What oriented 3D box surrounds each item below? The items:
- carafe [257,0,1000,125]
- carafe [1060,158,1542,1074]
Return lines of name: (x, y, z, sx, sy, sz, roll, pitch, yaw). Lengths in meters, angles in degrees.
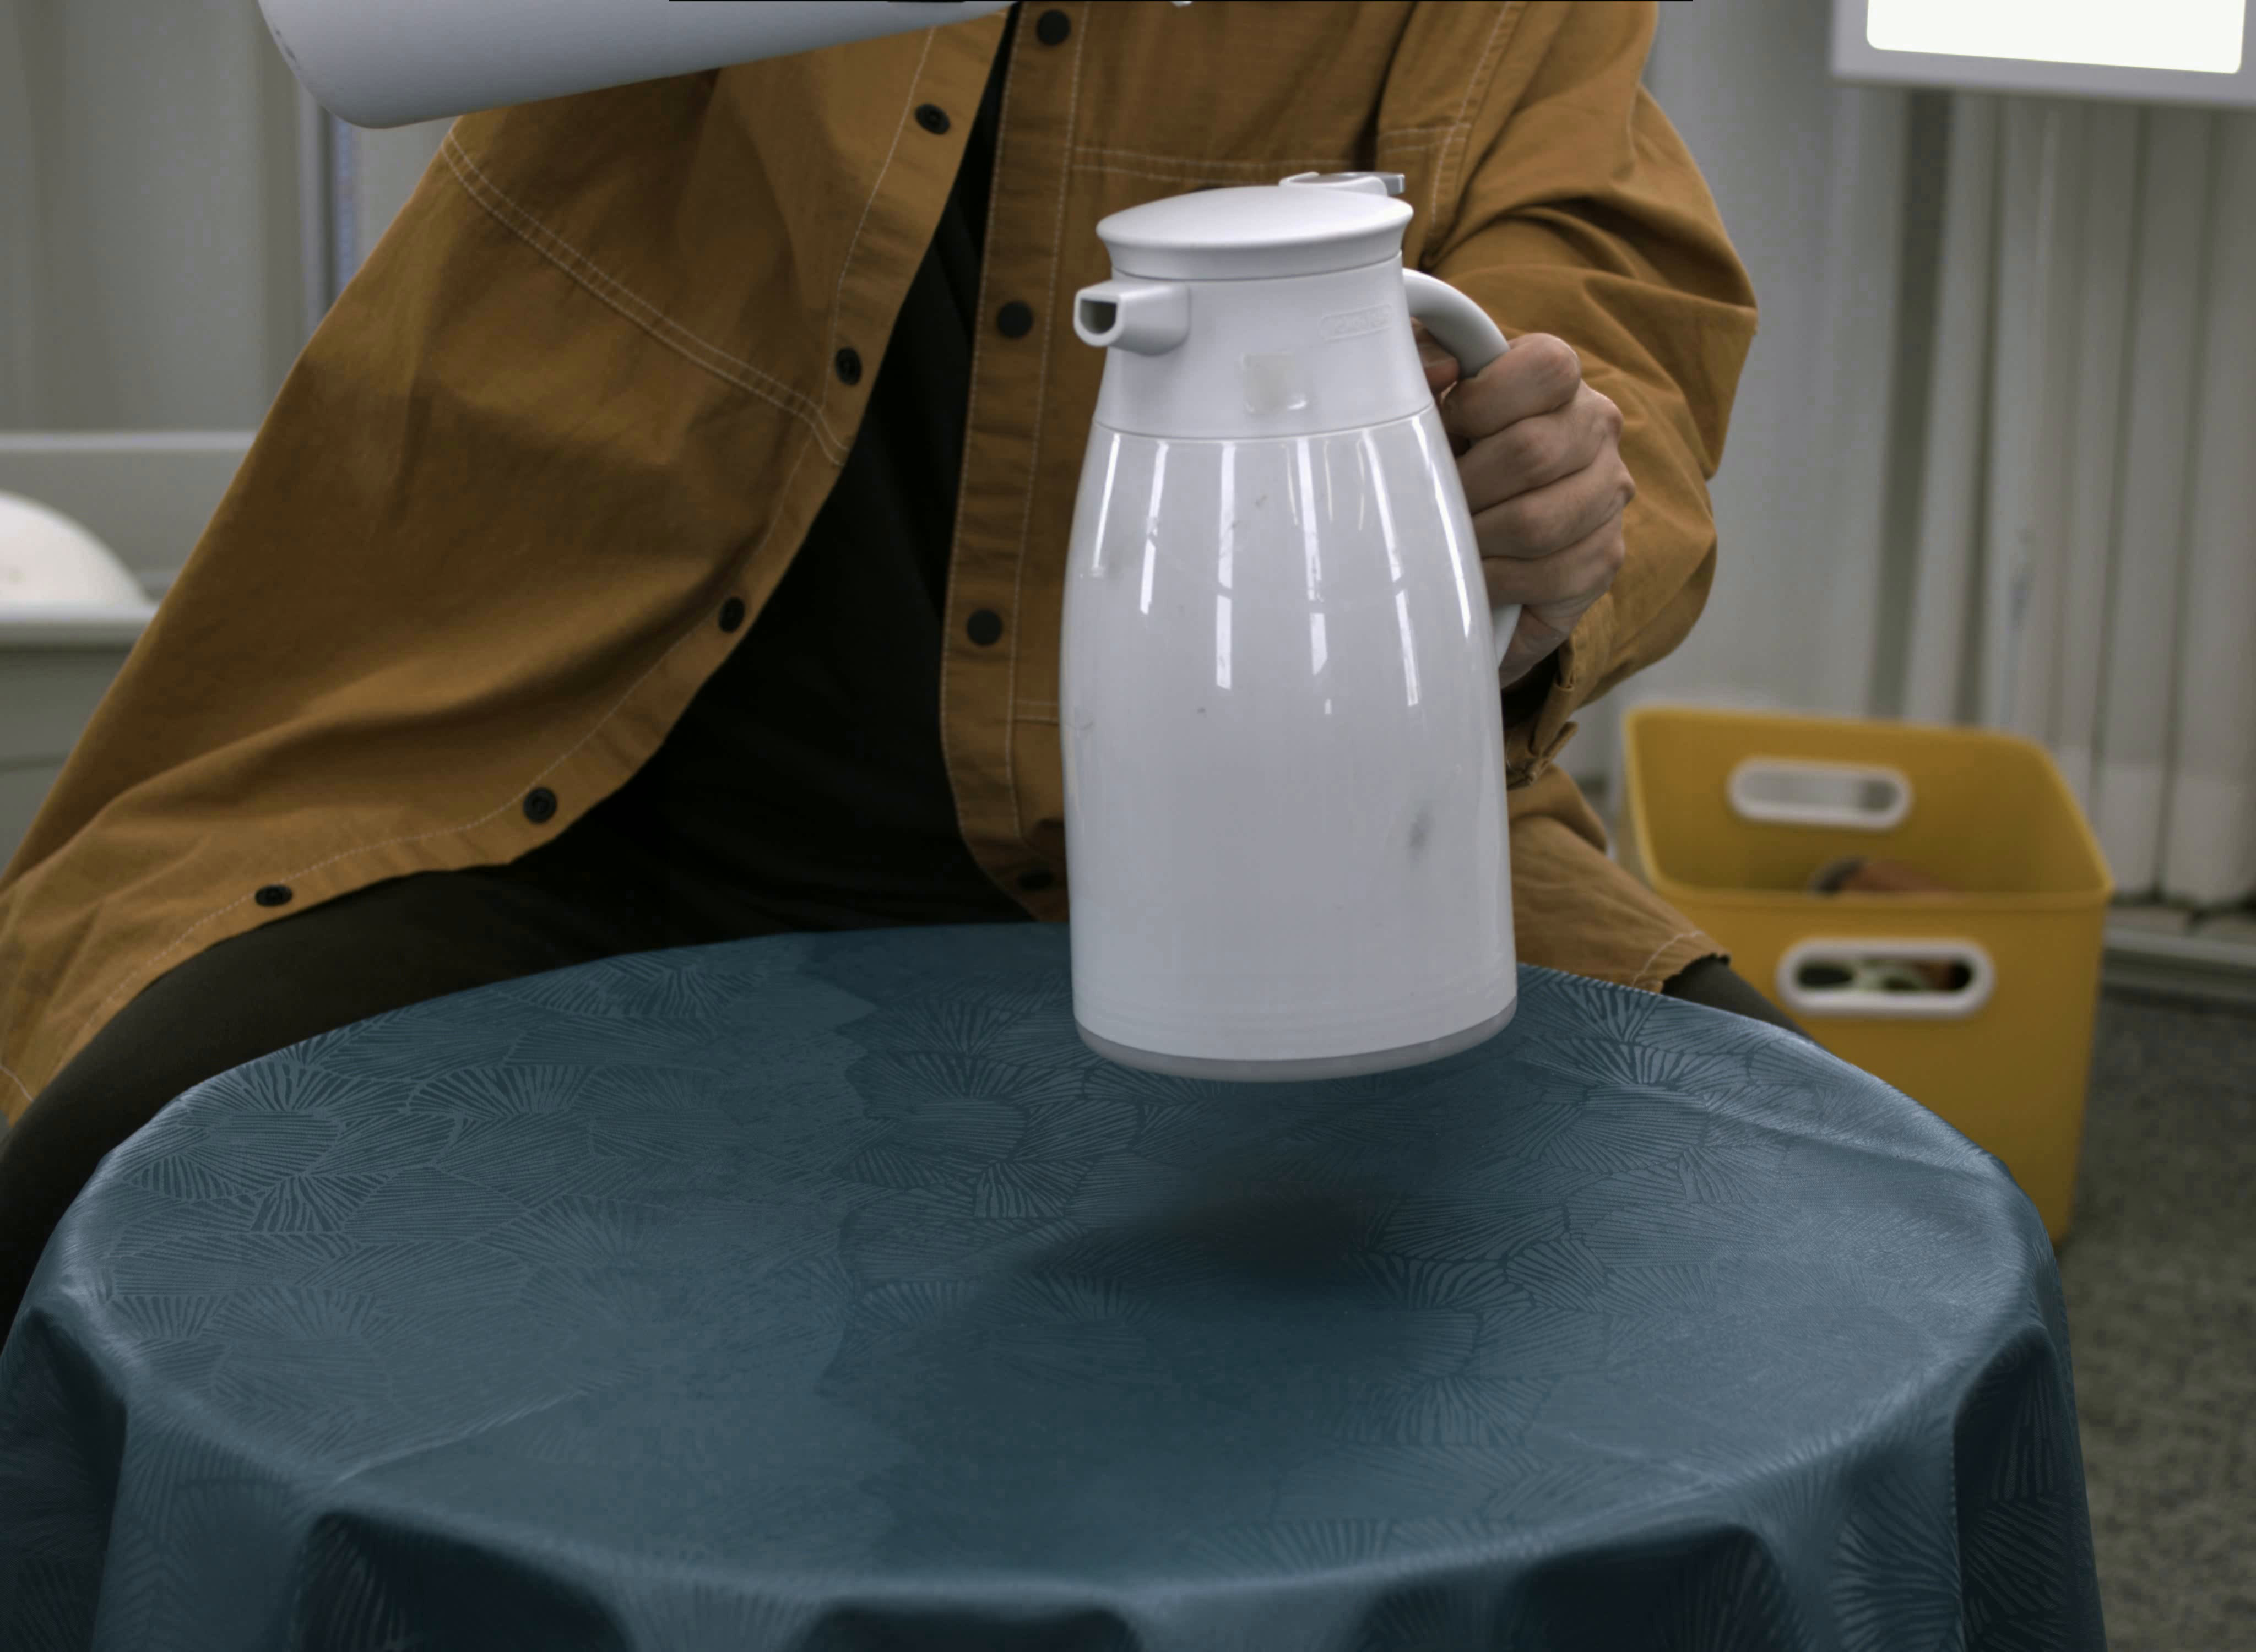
carafe: (-0.119, -0.294, 1.487, 0.266, 0.175, 0.123, -8, 28, 20)
carafe: (0.057, -0.069, 1.544, 0.168, 0.250, 0.131, -16, 20, -40)
